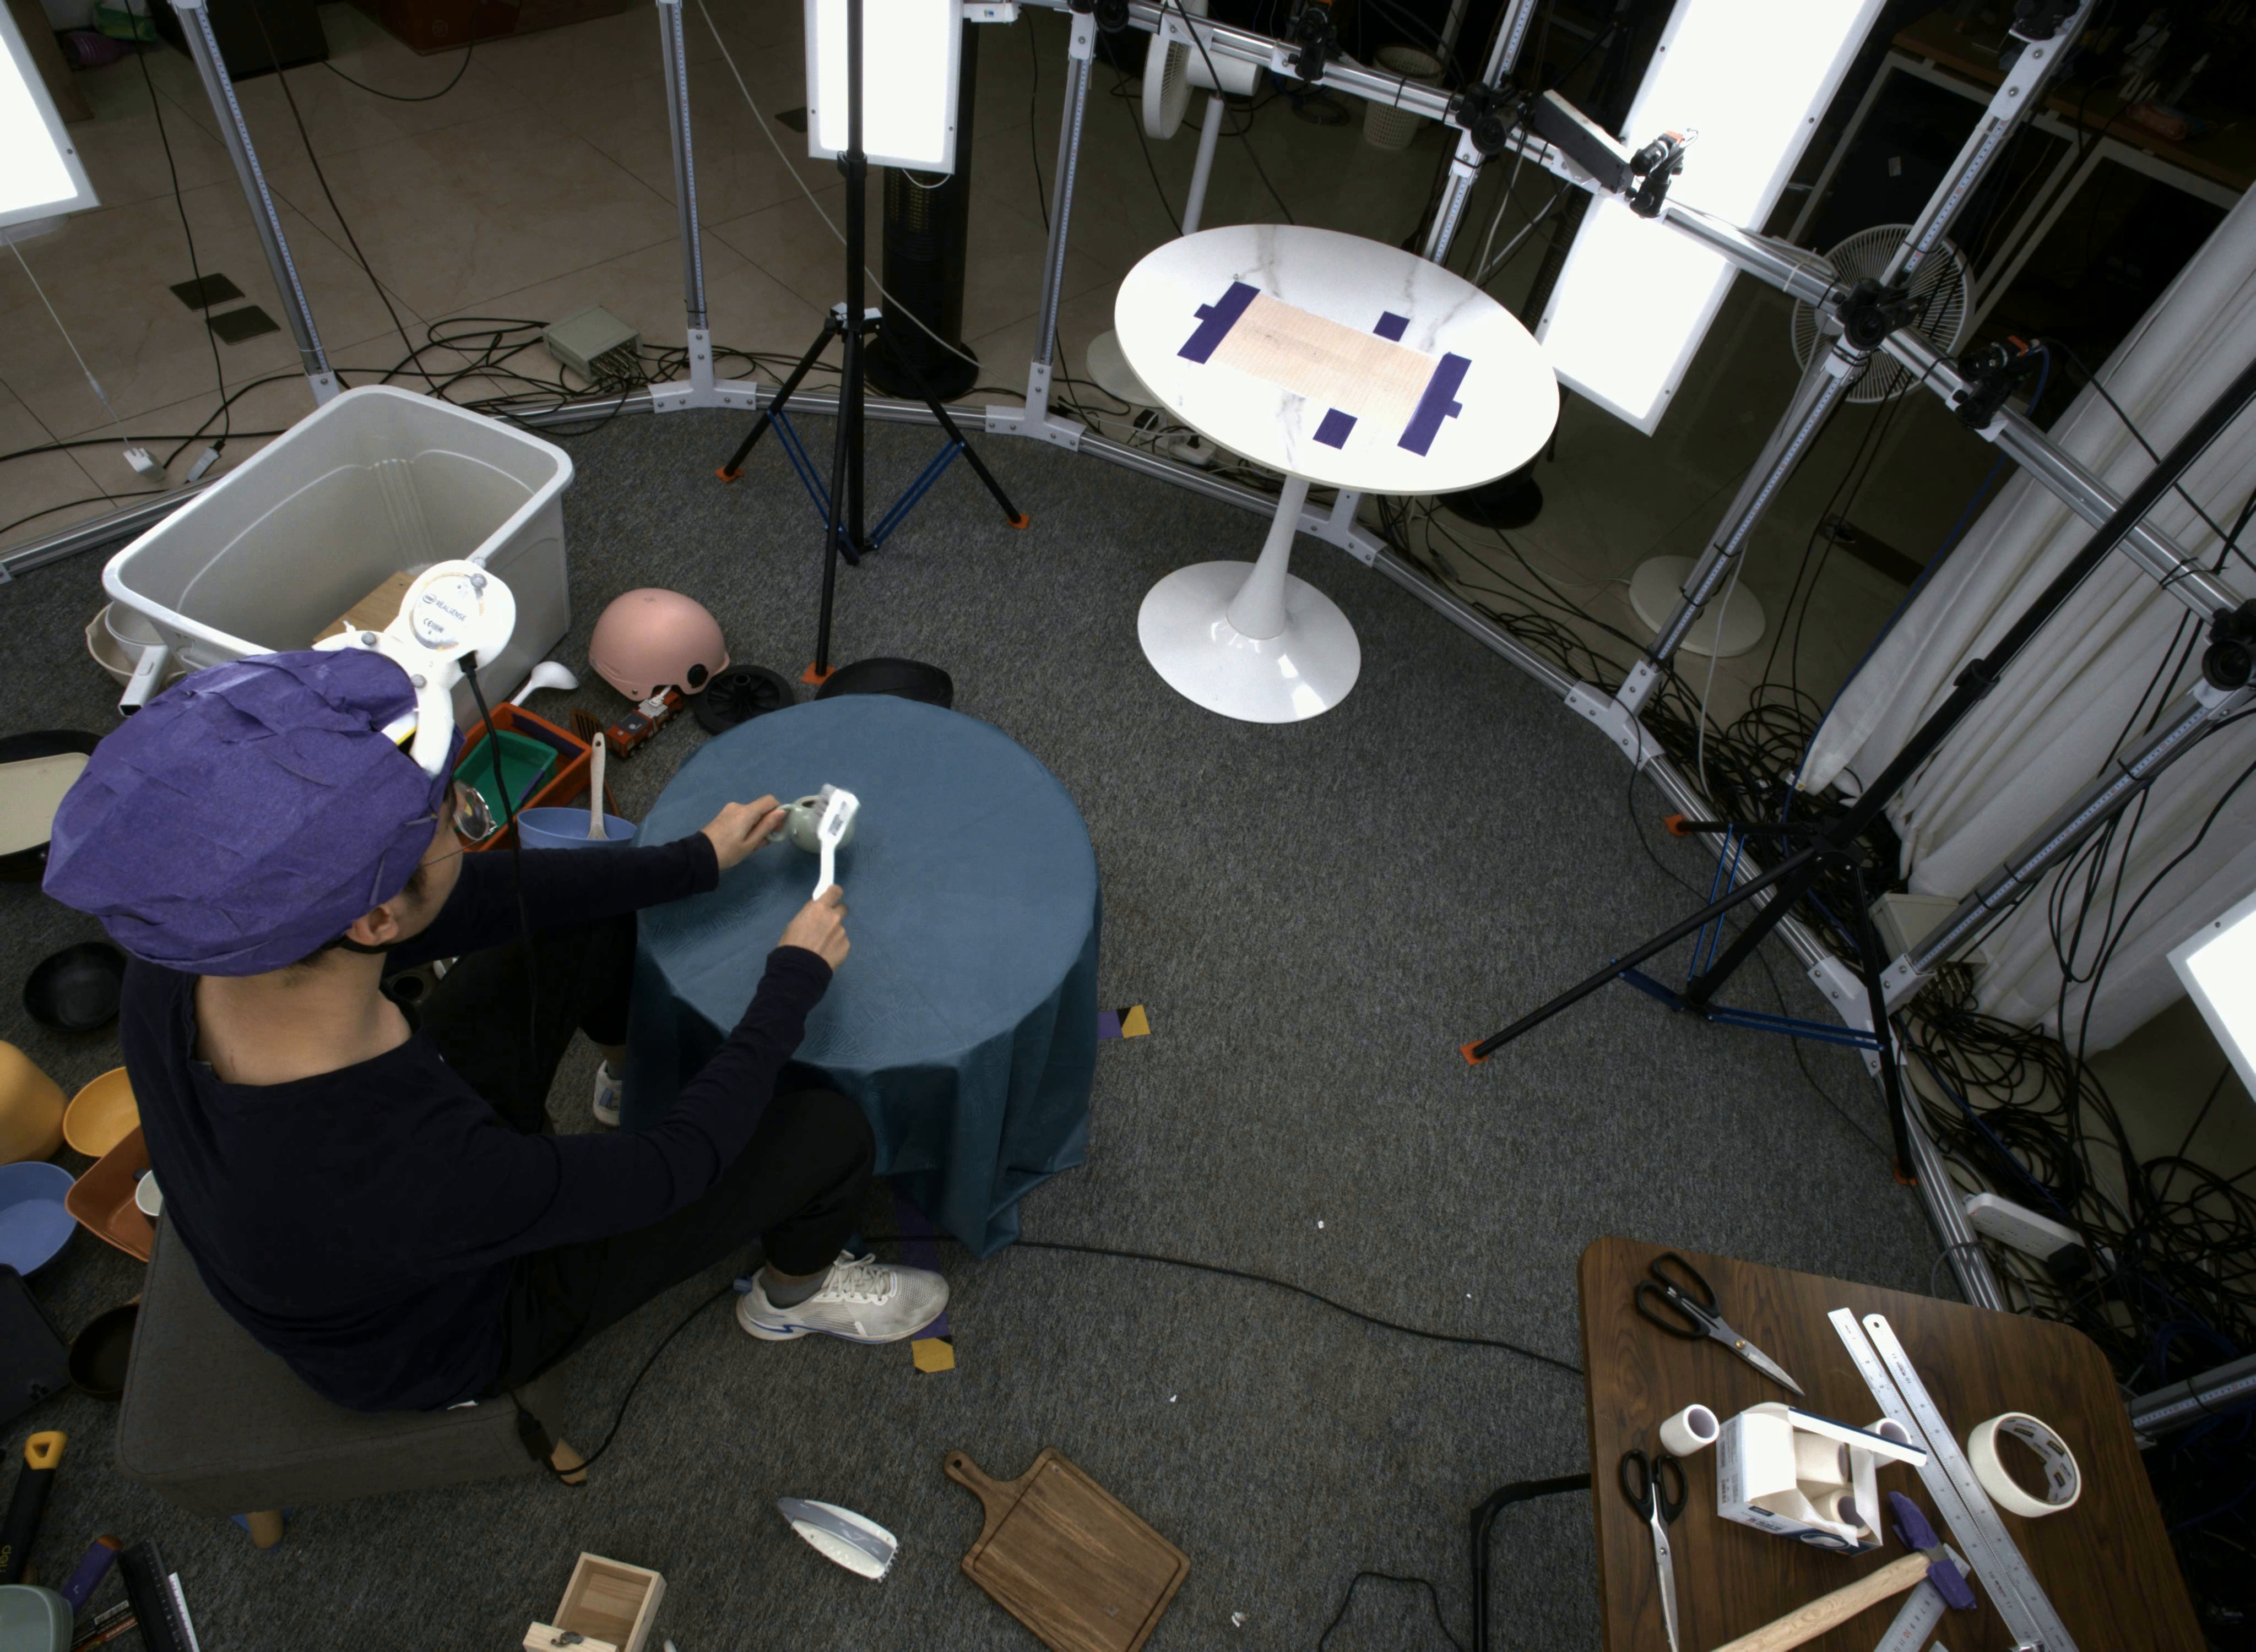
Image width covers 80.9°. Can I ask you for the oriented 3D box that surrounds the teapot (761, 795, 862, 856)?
[{"bbox_3d":[-0.405,-0.001,1.662,0.130,0.062,0.088,-2,26,-28],"label":"teapot"}]

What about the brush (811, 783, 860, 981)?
[{"bbox_3d":[-0.365,0.064,1.556,0.049,0.035,0.242,-1,70,18],"label":"brush"}]
